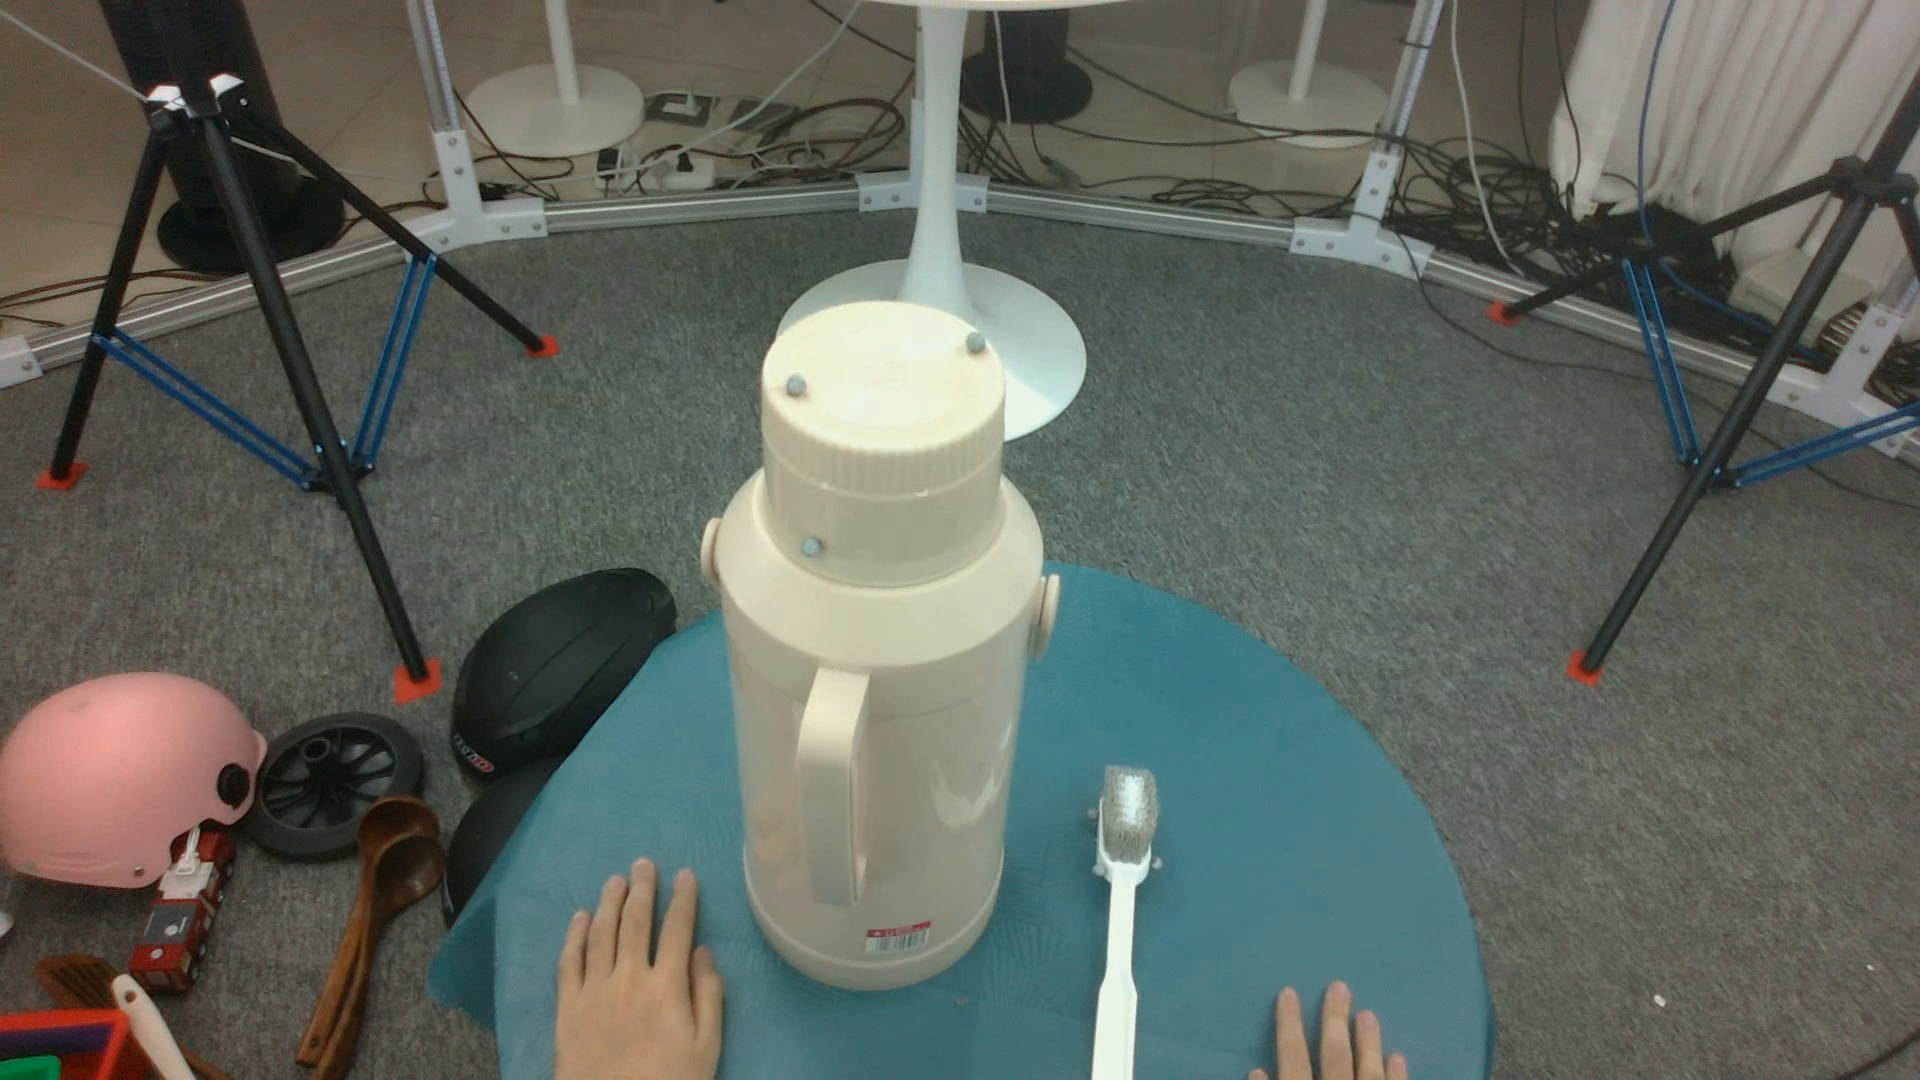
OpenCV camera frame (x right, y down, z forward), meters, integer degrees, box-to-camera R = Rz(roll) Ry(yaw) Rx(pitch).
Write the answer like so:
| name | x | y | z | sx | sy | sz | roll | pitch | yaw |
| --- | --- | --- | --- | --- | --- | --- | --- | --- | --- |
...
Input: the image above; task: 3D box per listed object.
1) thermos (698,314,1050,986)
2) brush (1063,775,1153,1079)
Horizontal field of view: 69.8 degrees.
| name | x | y | z | sx | sy | sz | roll | pitch | yaw |
| --- | --- | --- | --- | --- | --- | --- | --- | --- | --- |
| thermos | -0.052 | 0.083 | 0.729 | 0.175 | 0.404 | 0.208 | 10 | 45 | 3 |
| brush | 0.087 | 0.244 | 0.824 | 0.034 | 0.050 | 0.245 | 14 | 44 | 1 |
